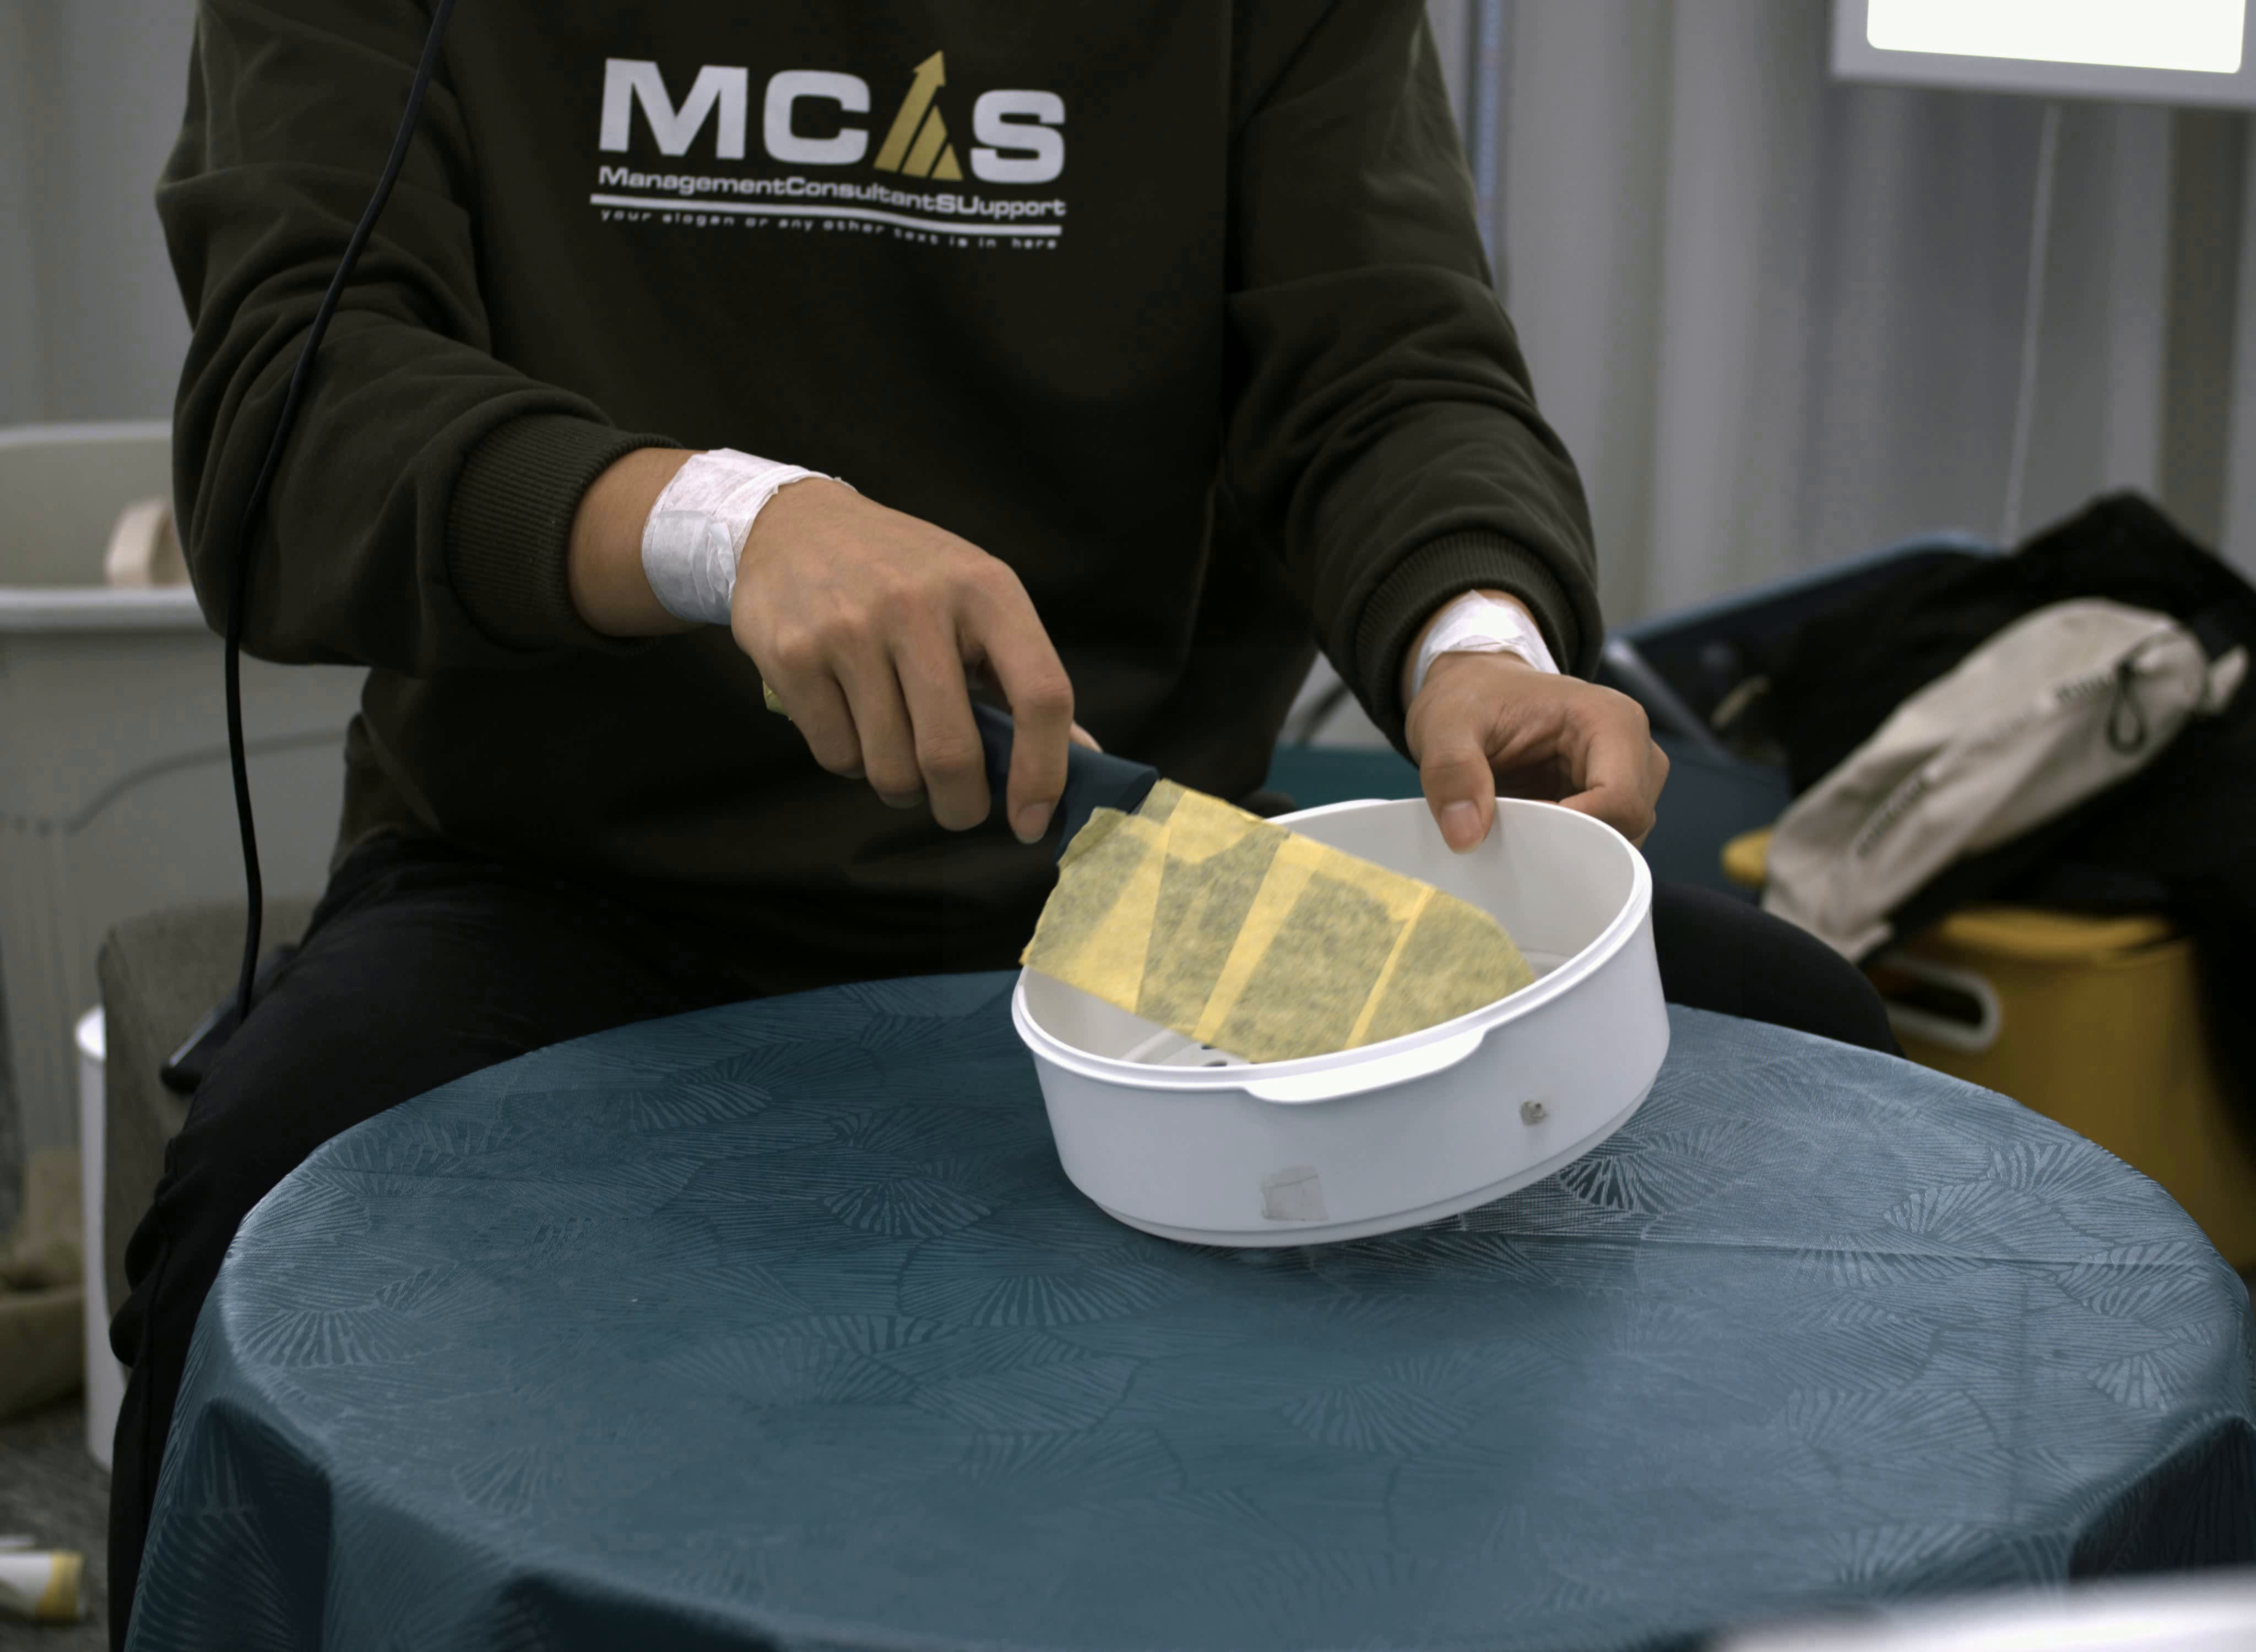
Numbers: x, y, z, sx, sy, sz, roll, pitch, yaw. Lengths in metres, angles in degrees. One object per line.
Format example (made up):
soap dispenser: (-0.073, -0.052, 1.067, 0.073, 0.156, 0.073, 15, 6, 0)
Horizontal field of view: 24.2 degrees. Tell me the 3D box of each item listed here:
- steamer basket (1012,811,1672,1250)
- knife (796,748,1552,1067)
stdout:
steamer basket: (0.068, 0.063, 1.620, 0.201, 0.070, 0.229, -12, 19, 1)
knife: (0.008, 0.028, 1.624, 0.286, 0.027, 0.081, 19, 54, 29)
